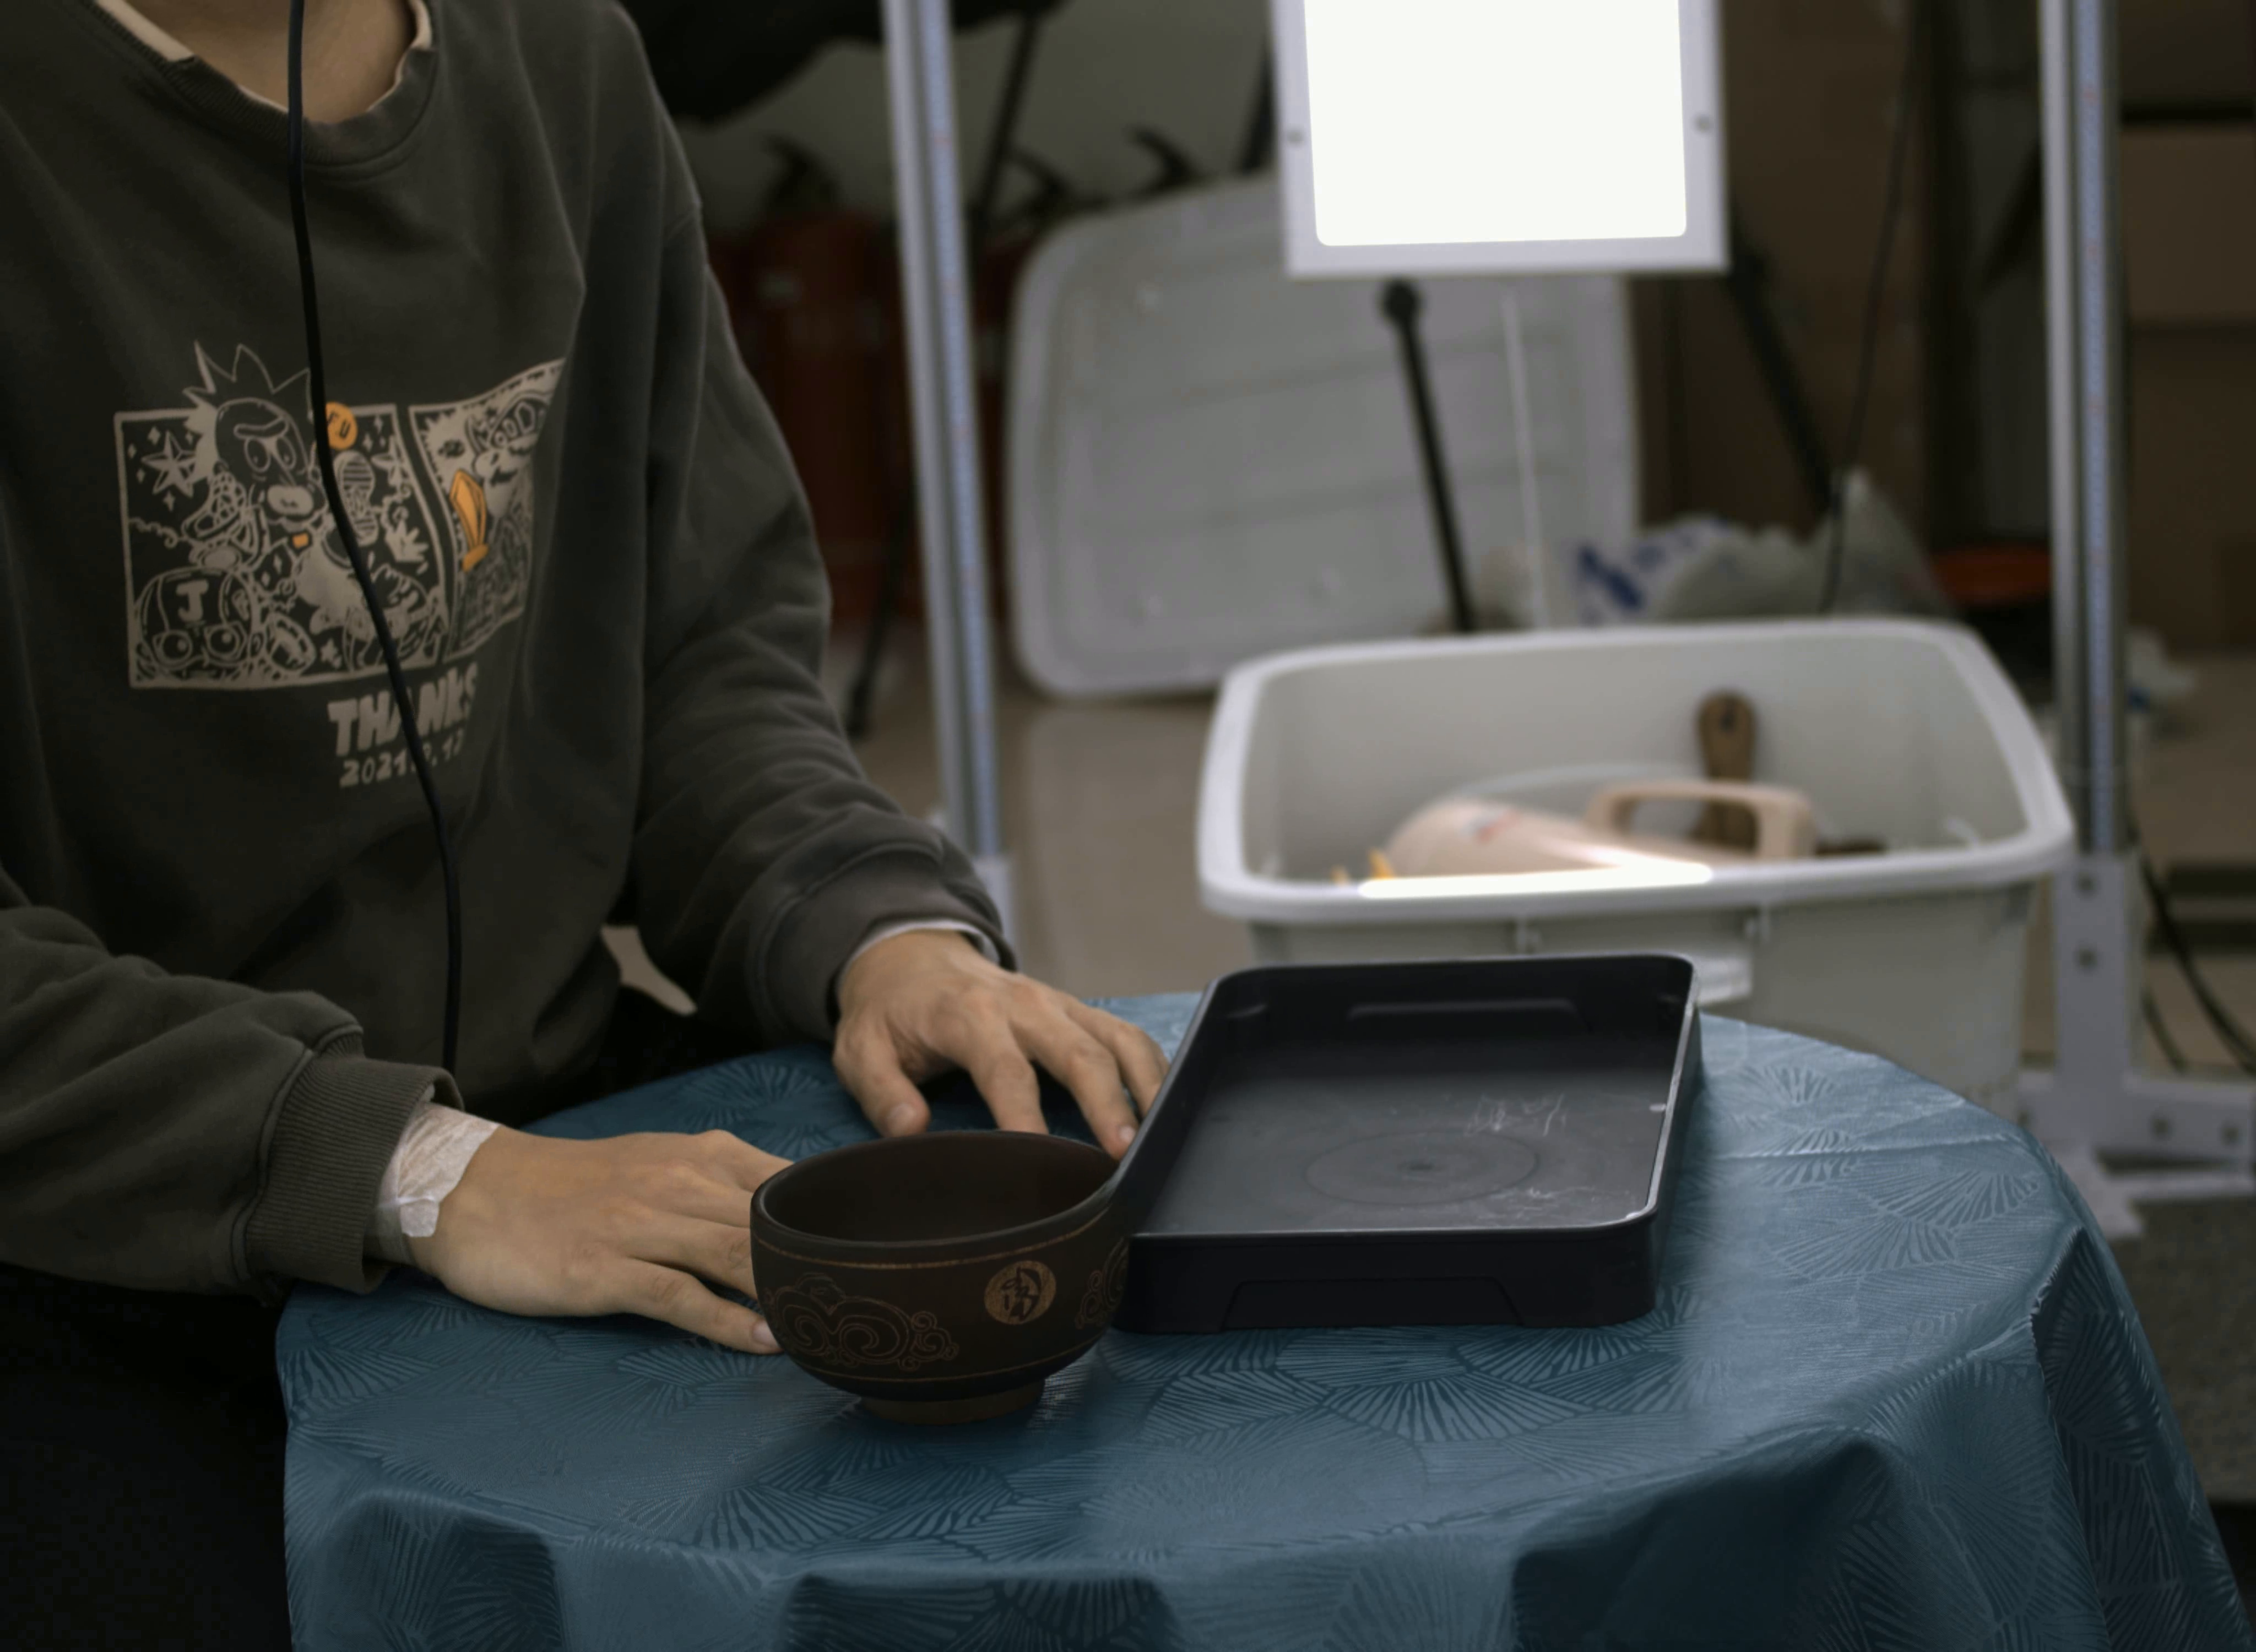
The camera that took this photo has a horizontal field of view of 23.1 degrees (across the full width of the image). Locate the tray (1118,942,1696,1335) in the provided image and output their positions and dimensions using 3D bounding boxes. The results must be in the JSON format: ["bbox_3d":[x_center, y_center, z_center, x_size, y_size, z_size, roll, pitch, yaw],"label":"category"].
[{"bbox_3d":[0.102,0.103,1.883,0.185,0.037,0.315,-4,14,9],"label":"tray"}]

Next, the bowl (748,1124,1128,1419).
[{"bbox_3d":[-0.057,0.142,1.705,0.118,0.070,0.118,-6,13,0],"label":"bowl"}]
